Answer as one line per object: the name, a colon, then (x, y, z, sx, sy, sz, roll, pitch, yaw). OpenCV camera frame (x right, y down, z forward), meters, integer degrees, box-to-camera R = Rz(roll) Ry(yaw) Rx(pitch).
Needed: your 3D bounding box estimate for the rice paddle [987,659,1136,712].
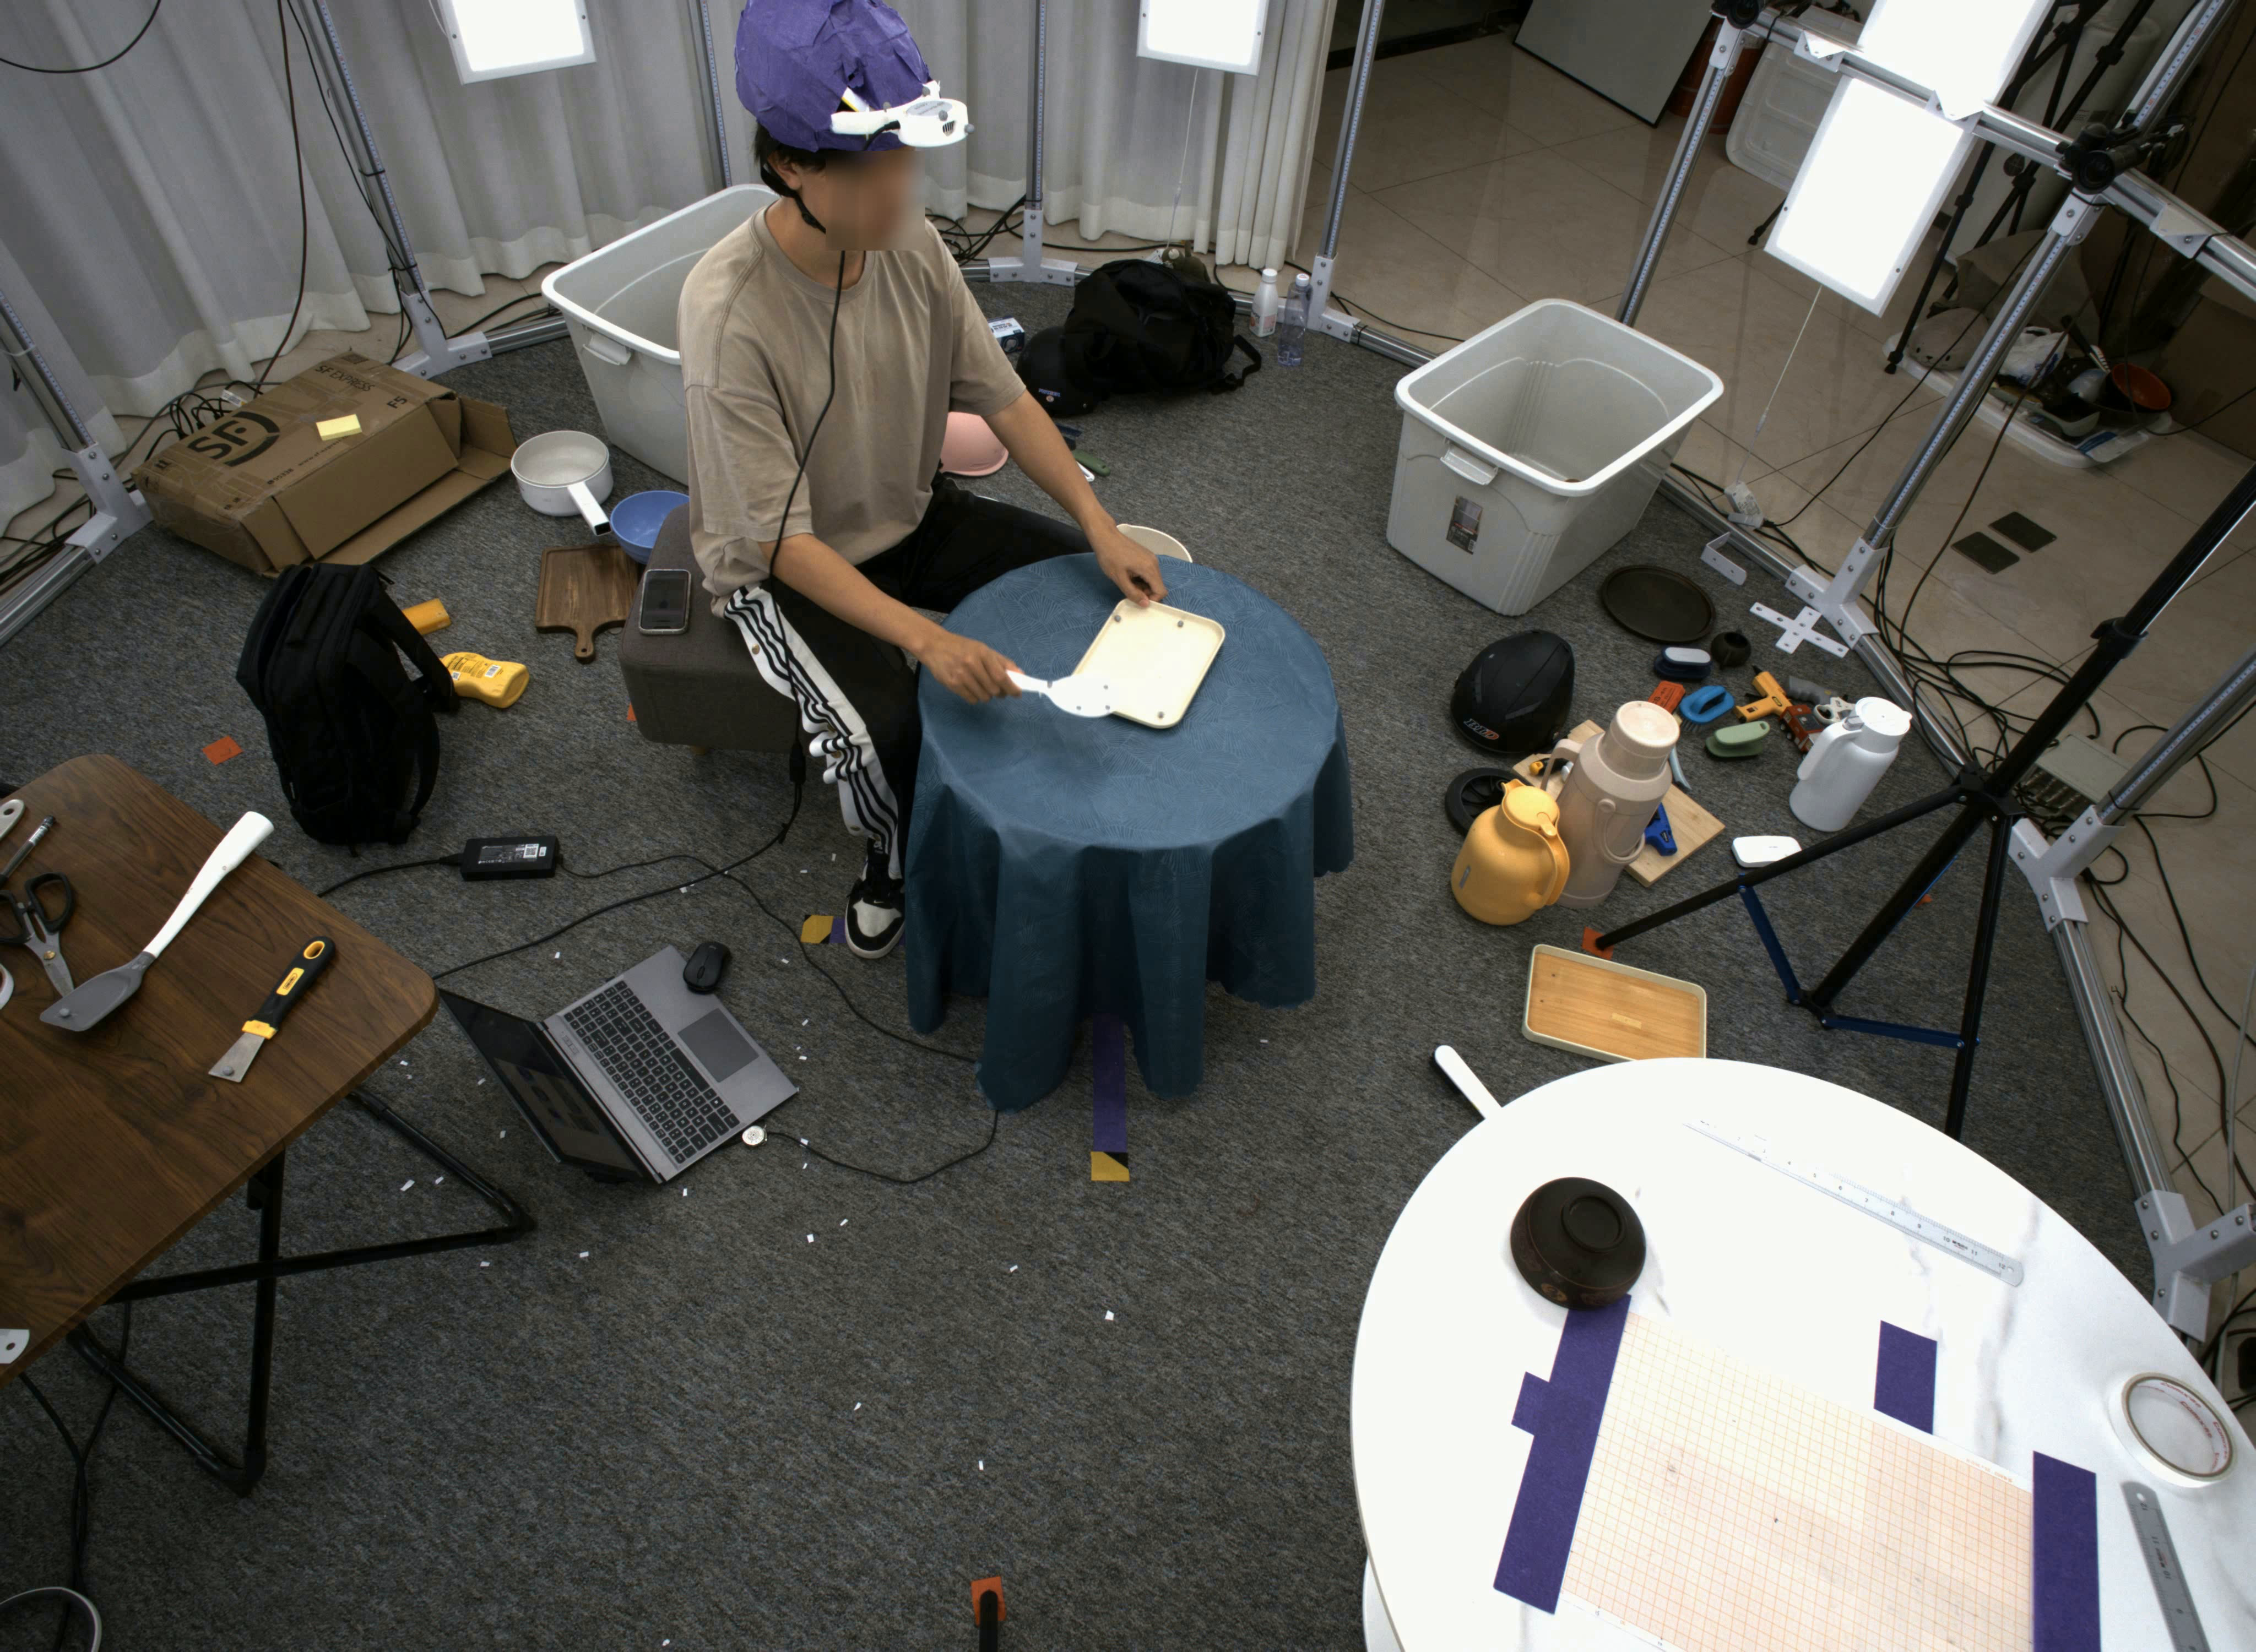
rice paddle: (-0.088, -0.191, 1.715, 0.206, 0.029, 0.070, 12, 54, 12)

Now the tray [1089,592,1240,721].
tray: (0.054, -0.247, 1.862, 0.172, 0.017, 0.244, 19, 49, 11)
